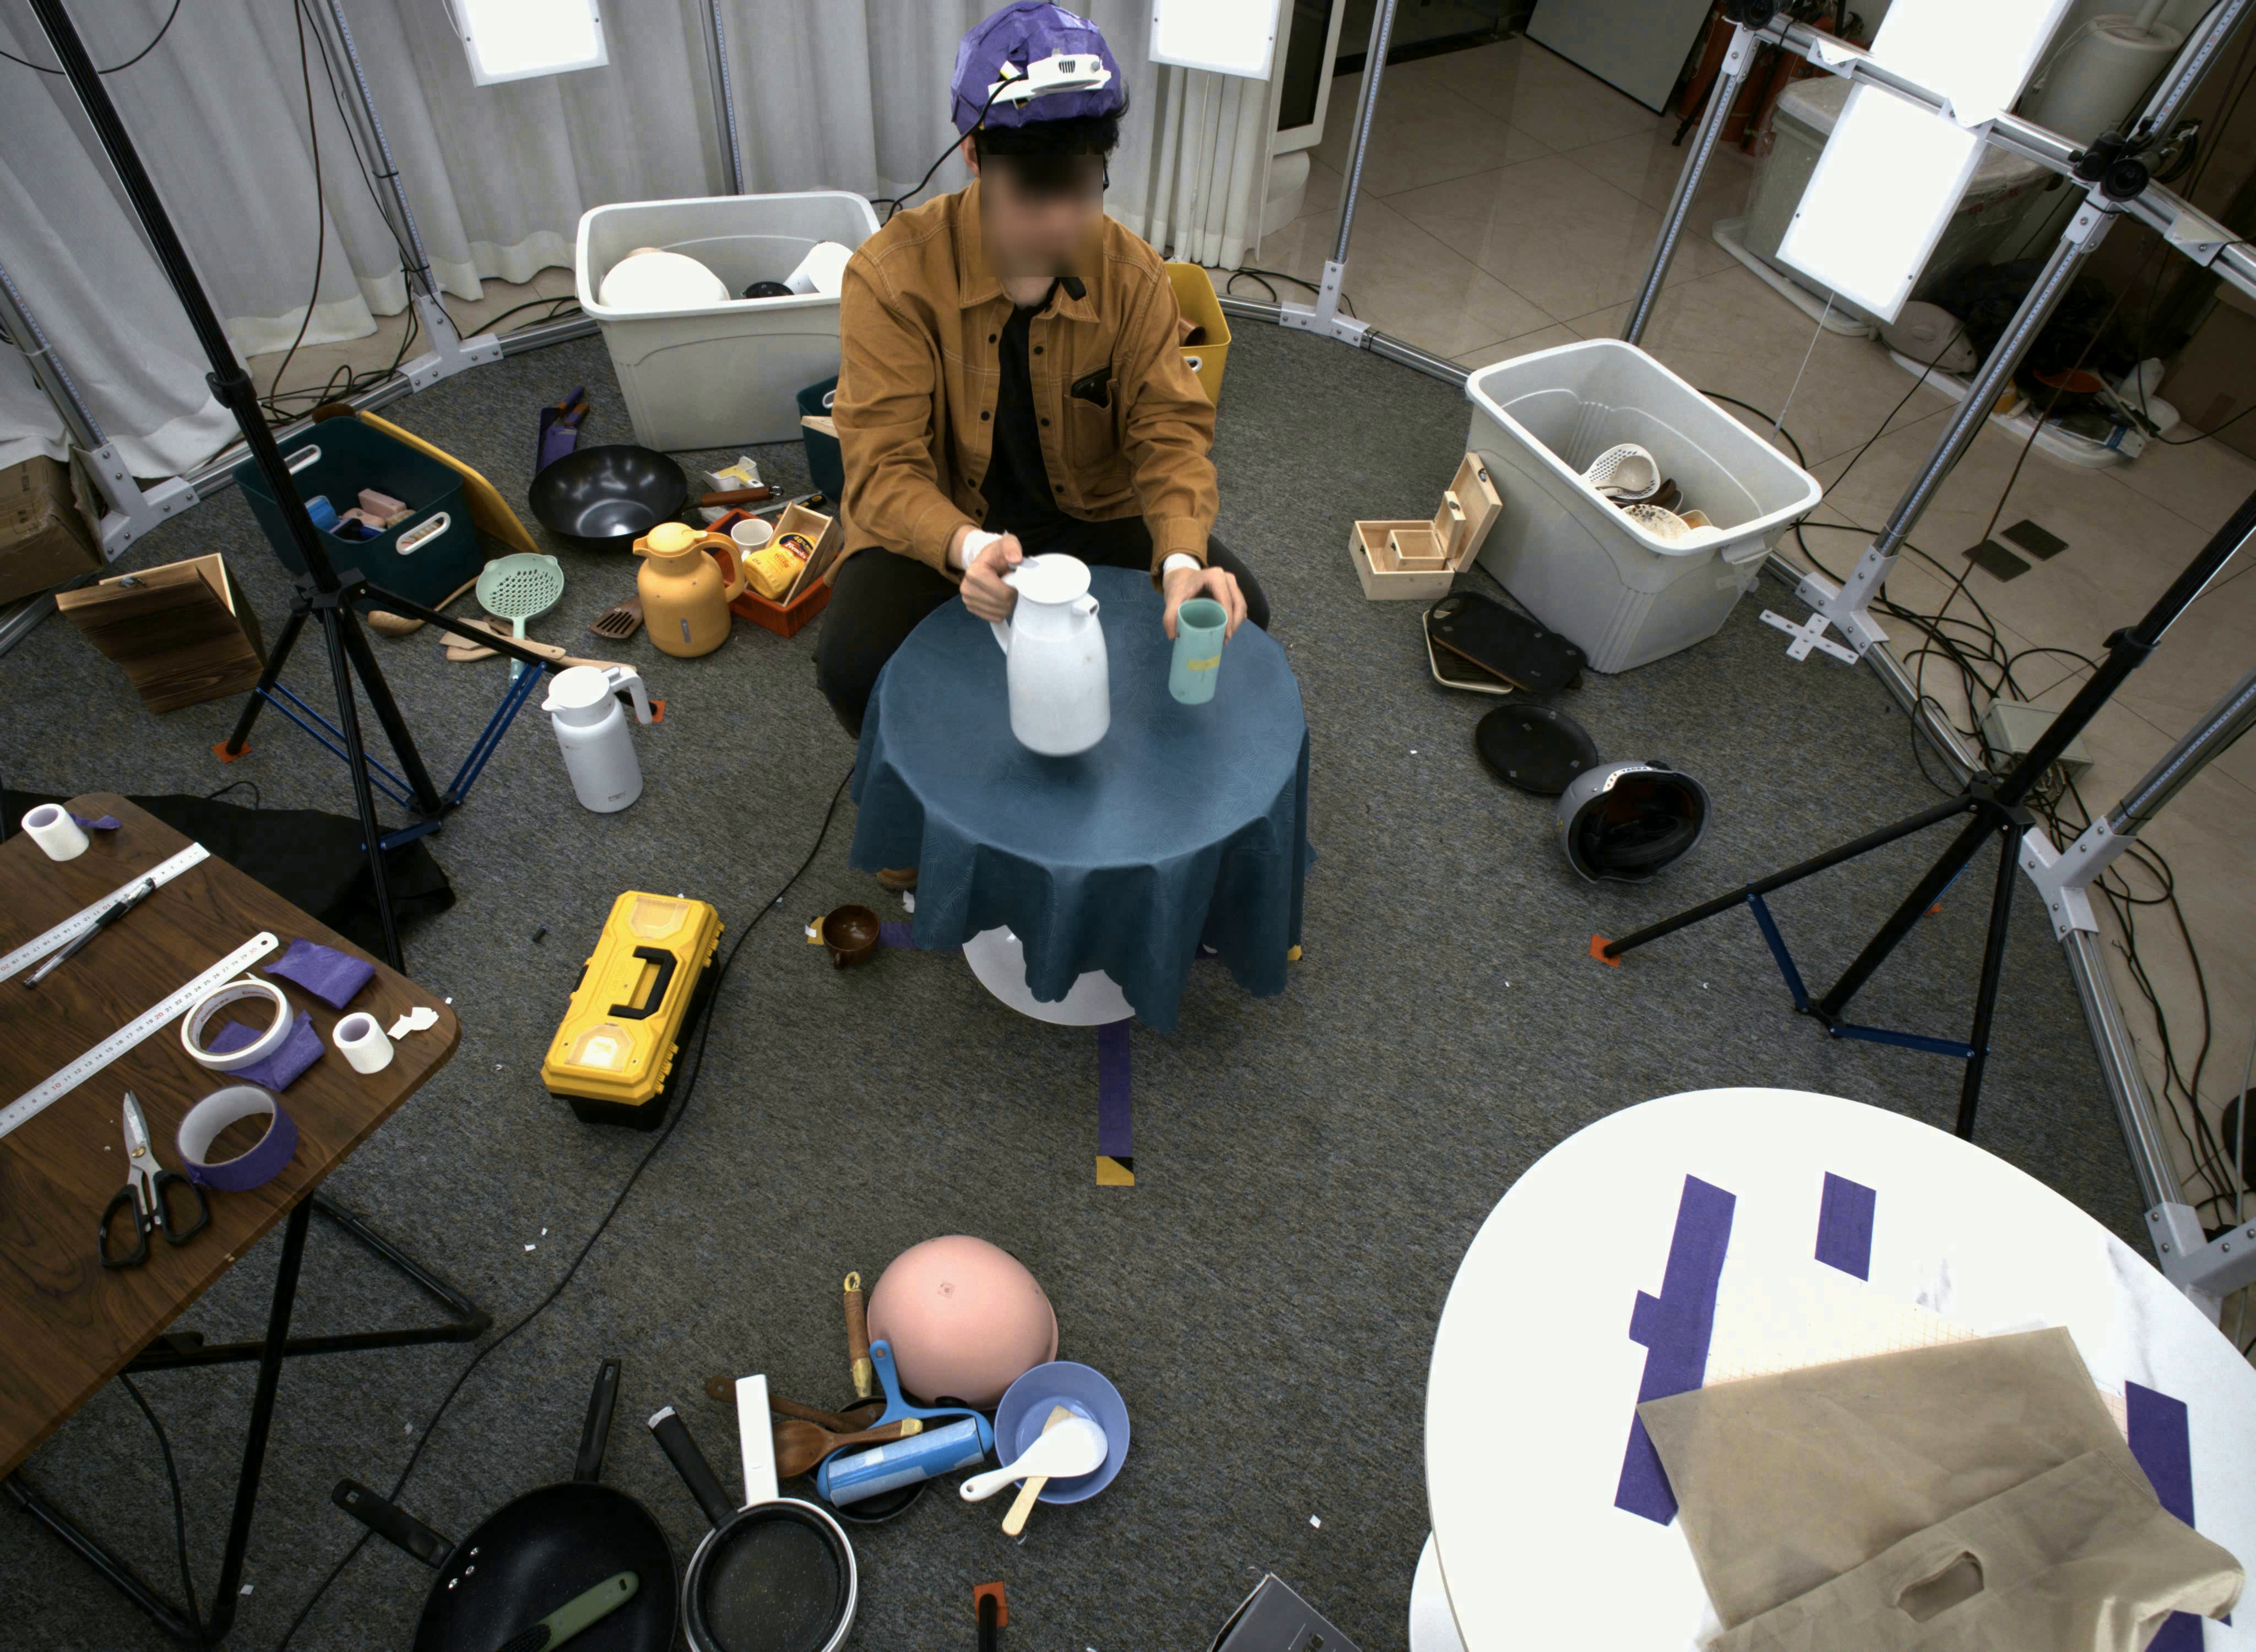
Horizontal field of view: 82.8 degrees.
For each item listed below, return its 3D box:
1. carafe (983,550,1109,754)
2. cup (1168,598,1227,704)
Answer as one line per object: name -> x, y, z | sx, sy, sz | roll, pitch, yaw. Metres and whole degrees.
carafe -> -0.109, -0.230, 1.615 | 0.169, 0.242, 0.134 | 26, 54, 23
cup -> 0.091, -0.232, 1.701 | 0.066, 0.129, 0.068 | 3, 47, -4
